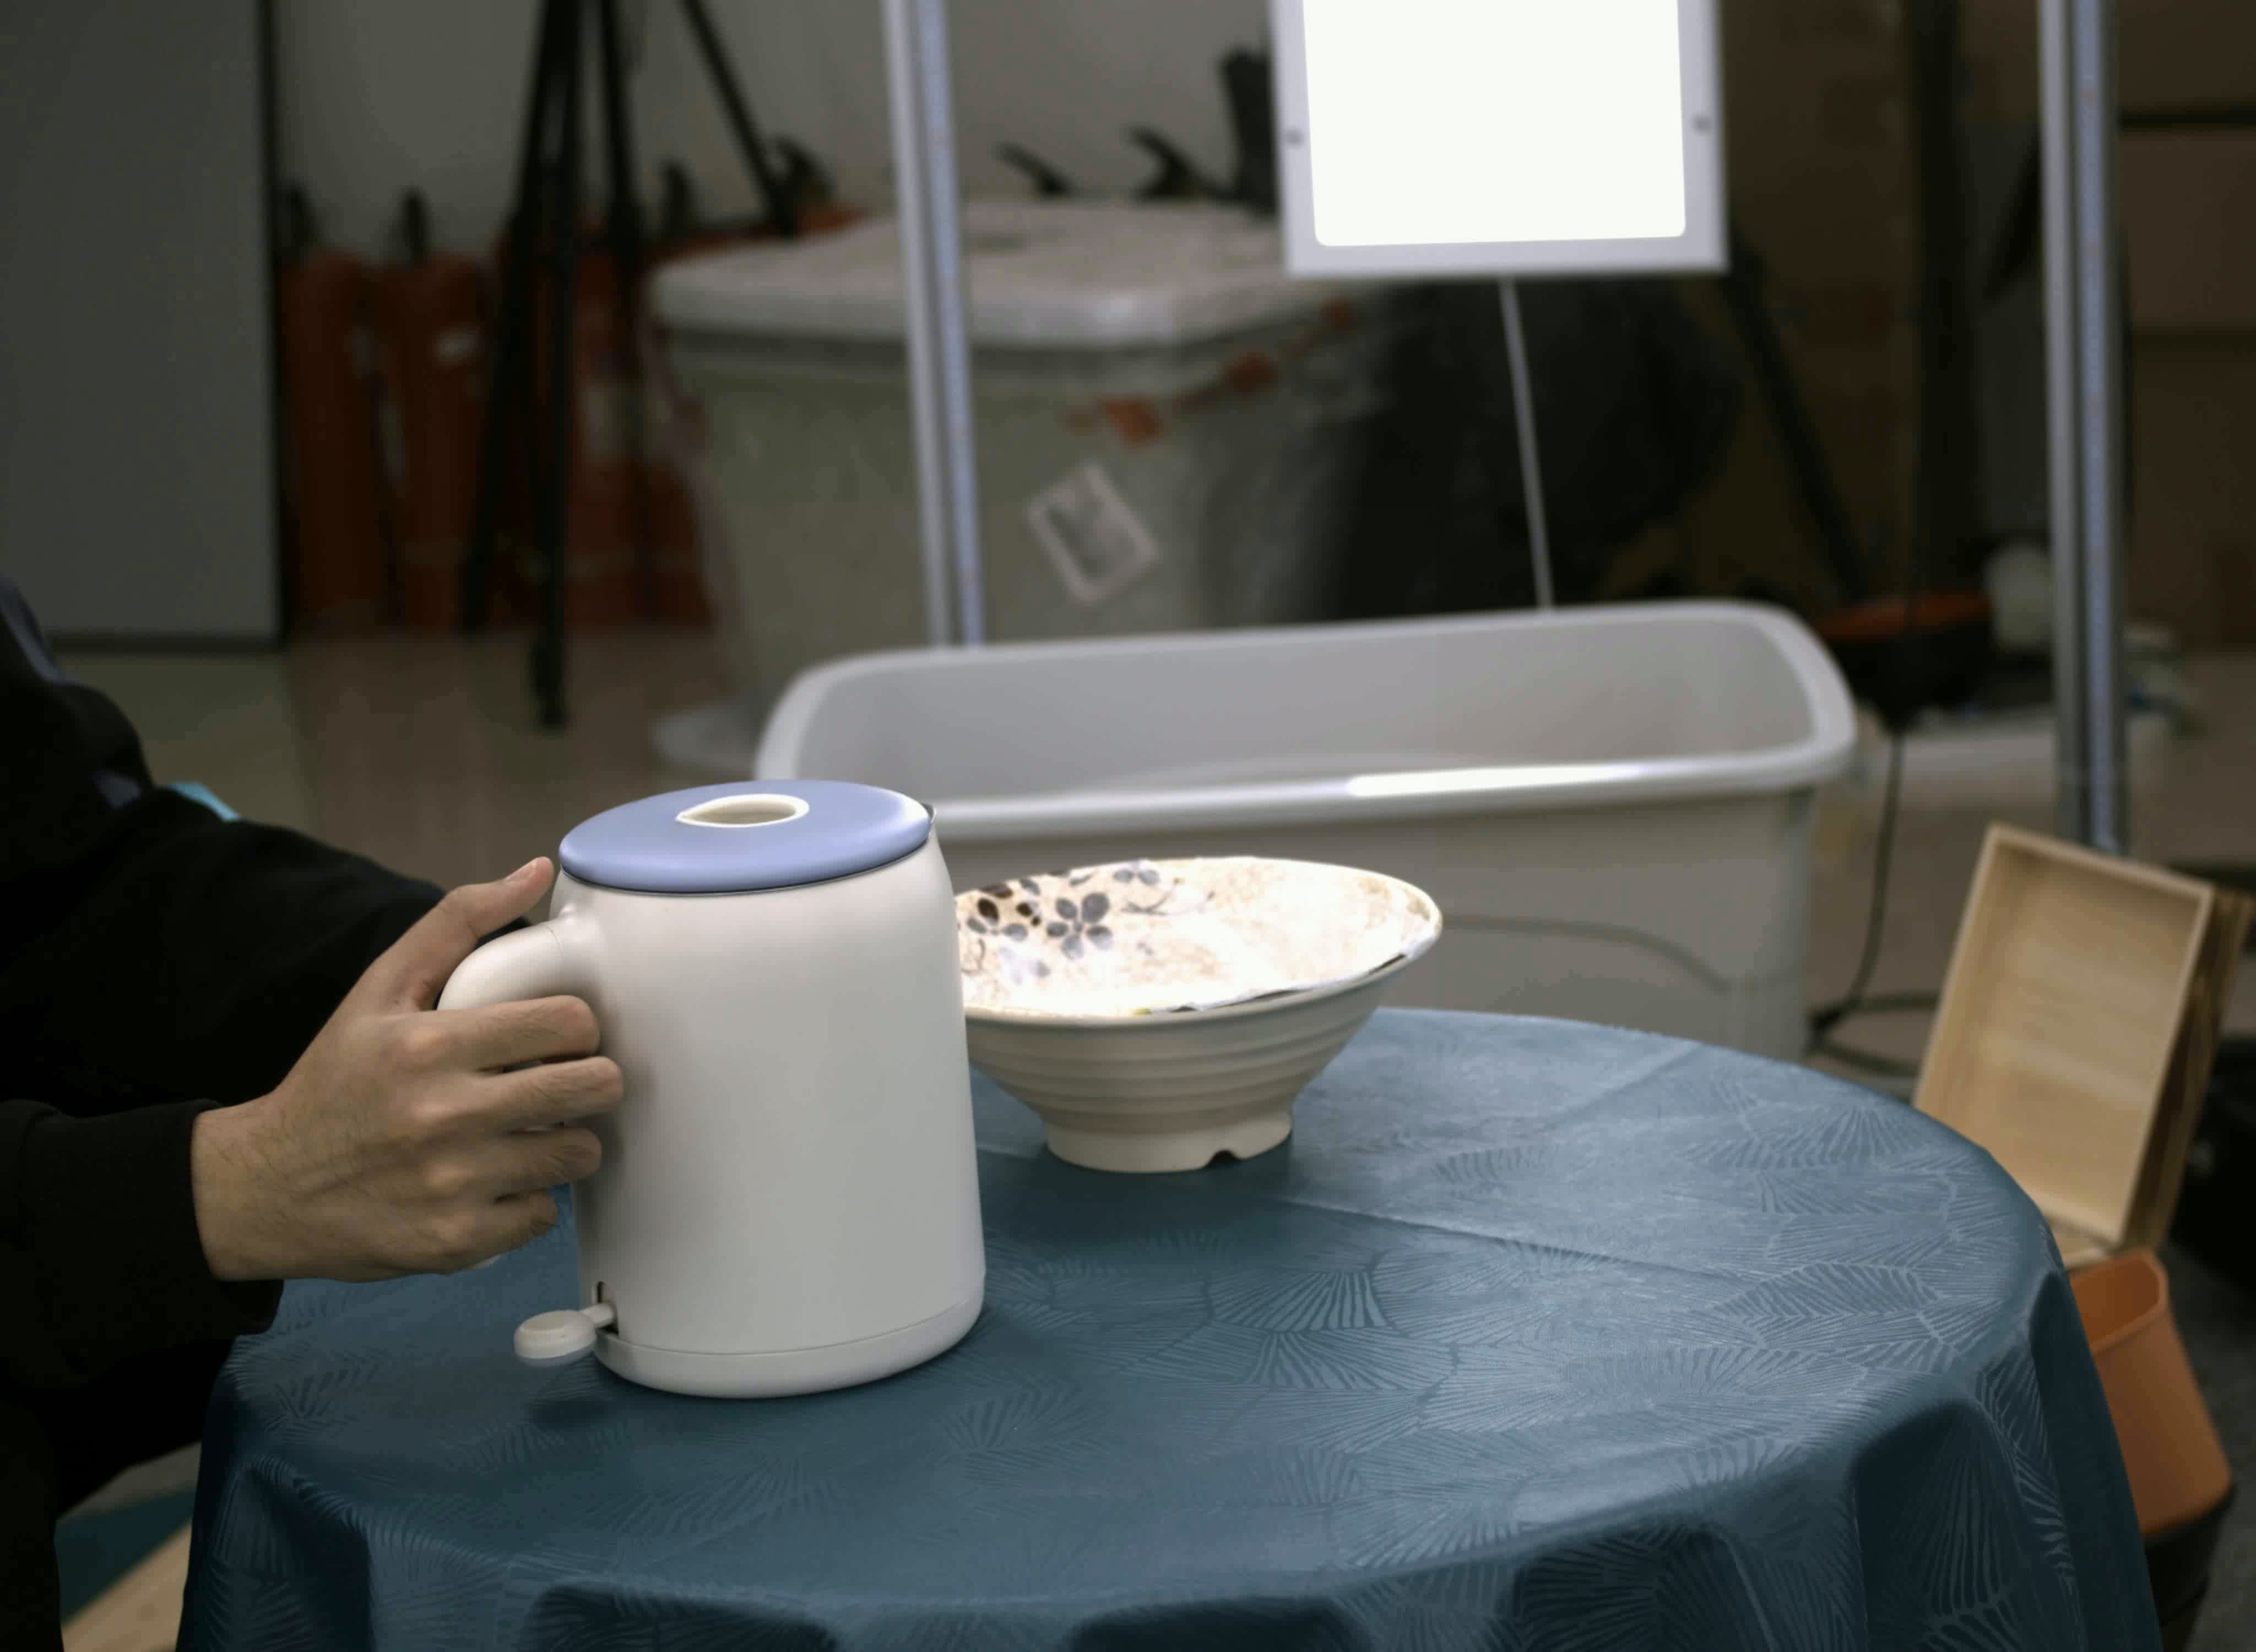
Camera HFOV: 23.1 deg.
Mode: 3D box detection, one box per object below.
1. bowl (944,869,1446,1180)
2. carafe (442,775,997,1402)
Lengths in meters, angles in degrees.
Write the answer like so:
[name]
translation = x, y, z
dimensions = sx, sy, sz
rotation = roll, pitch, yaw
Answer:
[bowl]
translation = 0.015, 0.076, 1.941
dimensions = 0.203, 0.078, 0.204
rotation = -7, 12, 0
[carafe]
translation = -0.134, 0.088, 1.745
dimensions = 0.186, 0.183, 0.135
rotation = -17, 17, -31
